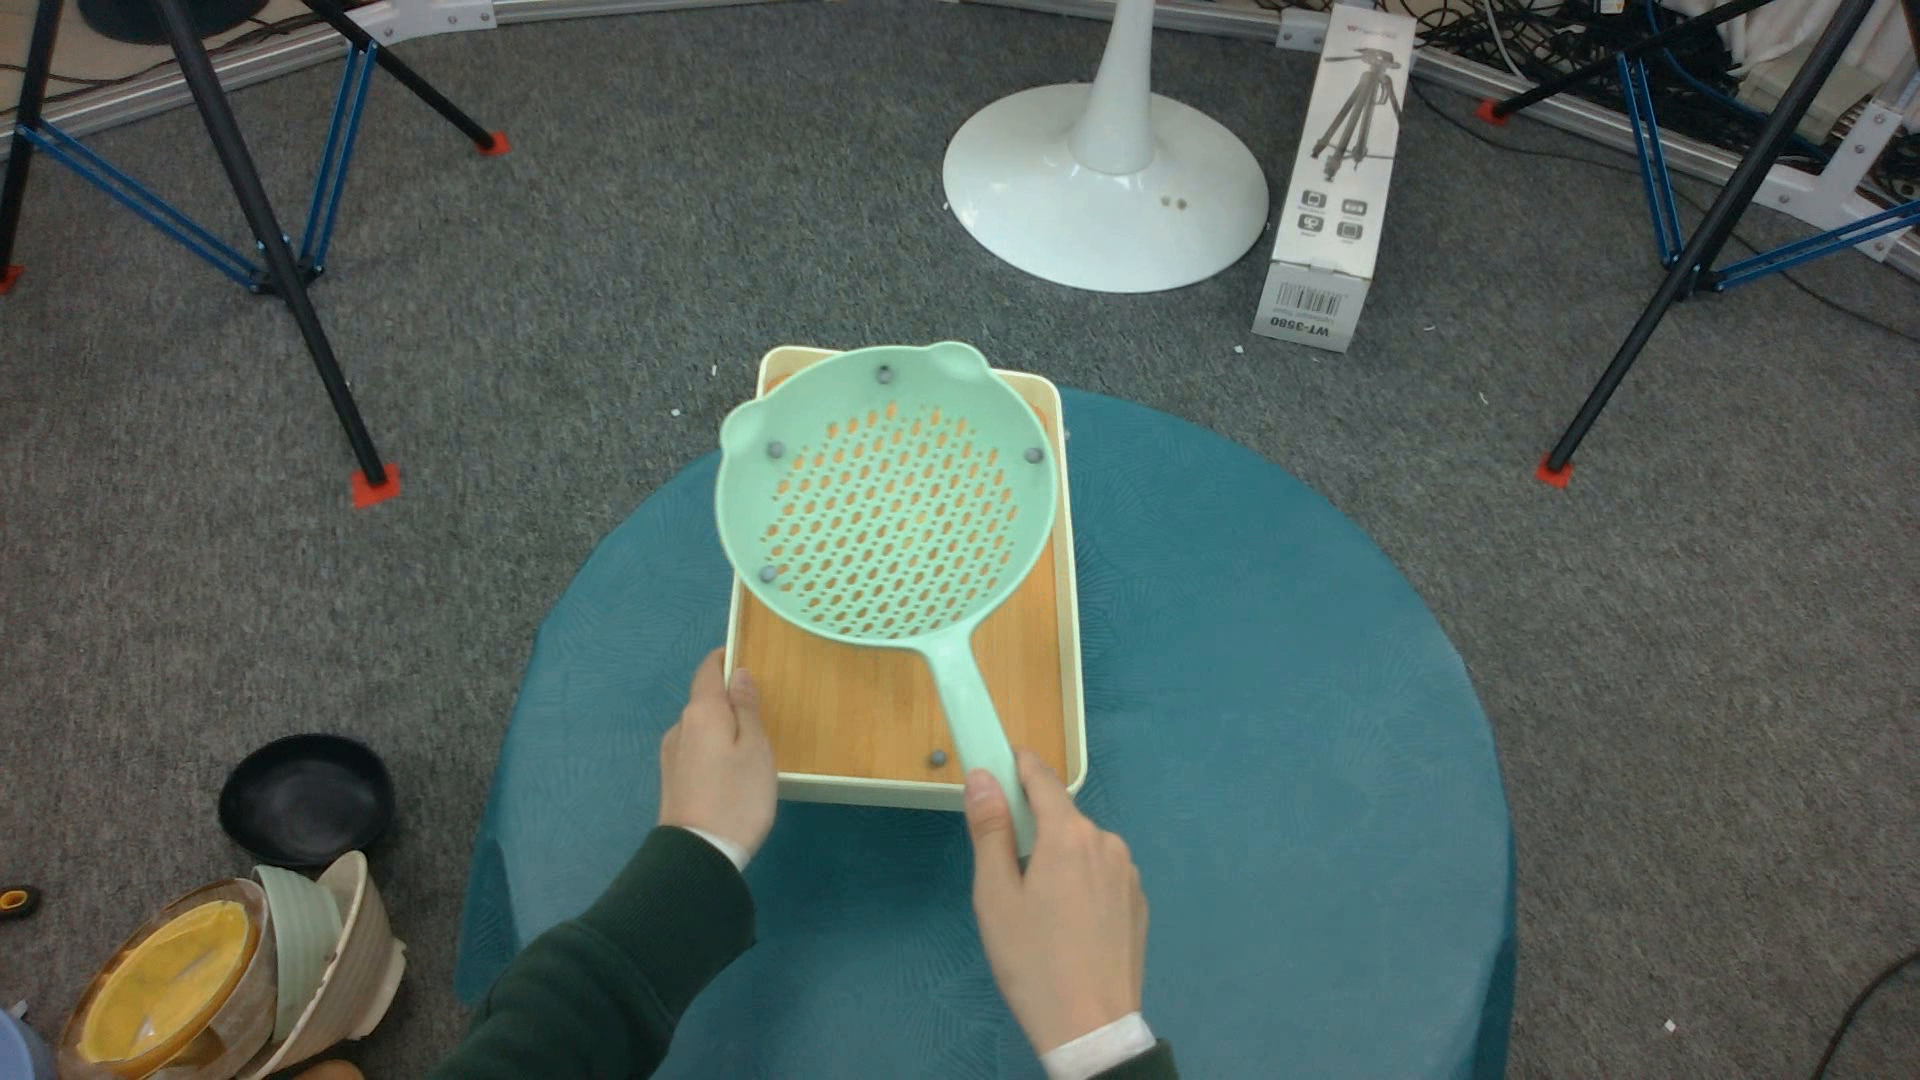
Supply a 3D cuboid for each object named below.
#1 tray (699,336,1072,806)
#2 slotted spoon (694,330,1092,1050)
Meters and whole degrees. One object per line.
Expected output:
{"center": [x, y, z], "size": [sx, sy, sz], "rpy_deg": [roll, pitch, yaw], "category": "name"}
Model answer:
{"center": [-0.039, 0.006, 0.783], "size": [0.192, 0.027, 0.301], "rpy_deg": [6, 51, -8], "category": "tray"}
{"center": [-0.012, 0.054, 0.645], "size": [0.169, 0.075, 0.360], "rpy_deg": [-19, 56, -8], "category": "slotted spoon"}
